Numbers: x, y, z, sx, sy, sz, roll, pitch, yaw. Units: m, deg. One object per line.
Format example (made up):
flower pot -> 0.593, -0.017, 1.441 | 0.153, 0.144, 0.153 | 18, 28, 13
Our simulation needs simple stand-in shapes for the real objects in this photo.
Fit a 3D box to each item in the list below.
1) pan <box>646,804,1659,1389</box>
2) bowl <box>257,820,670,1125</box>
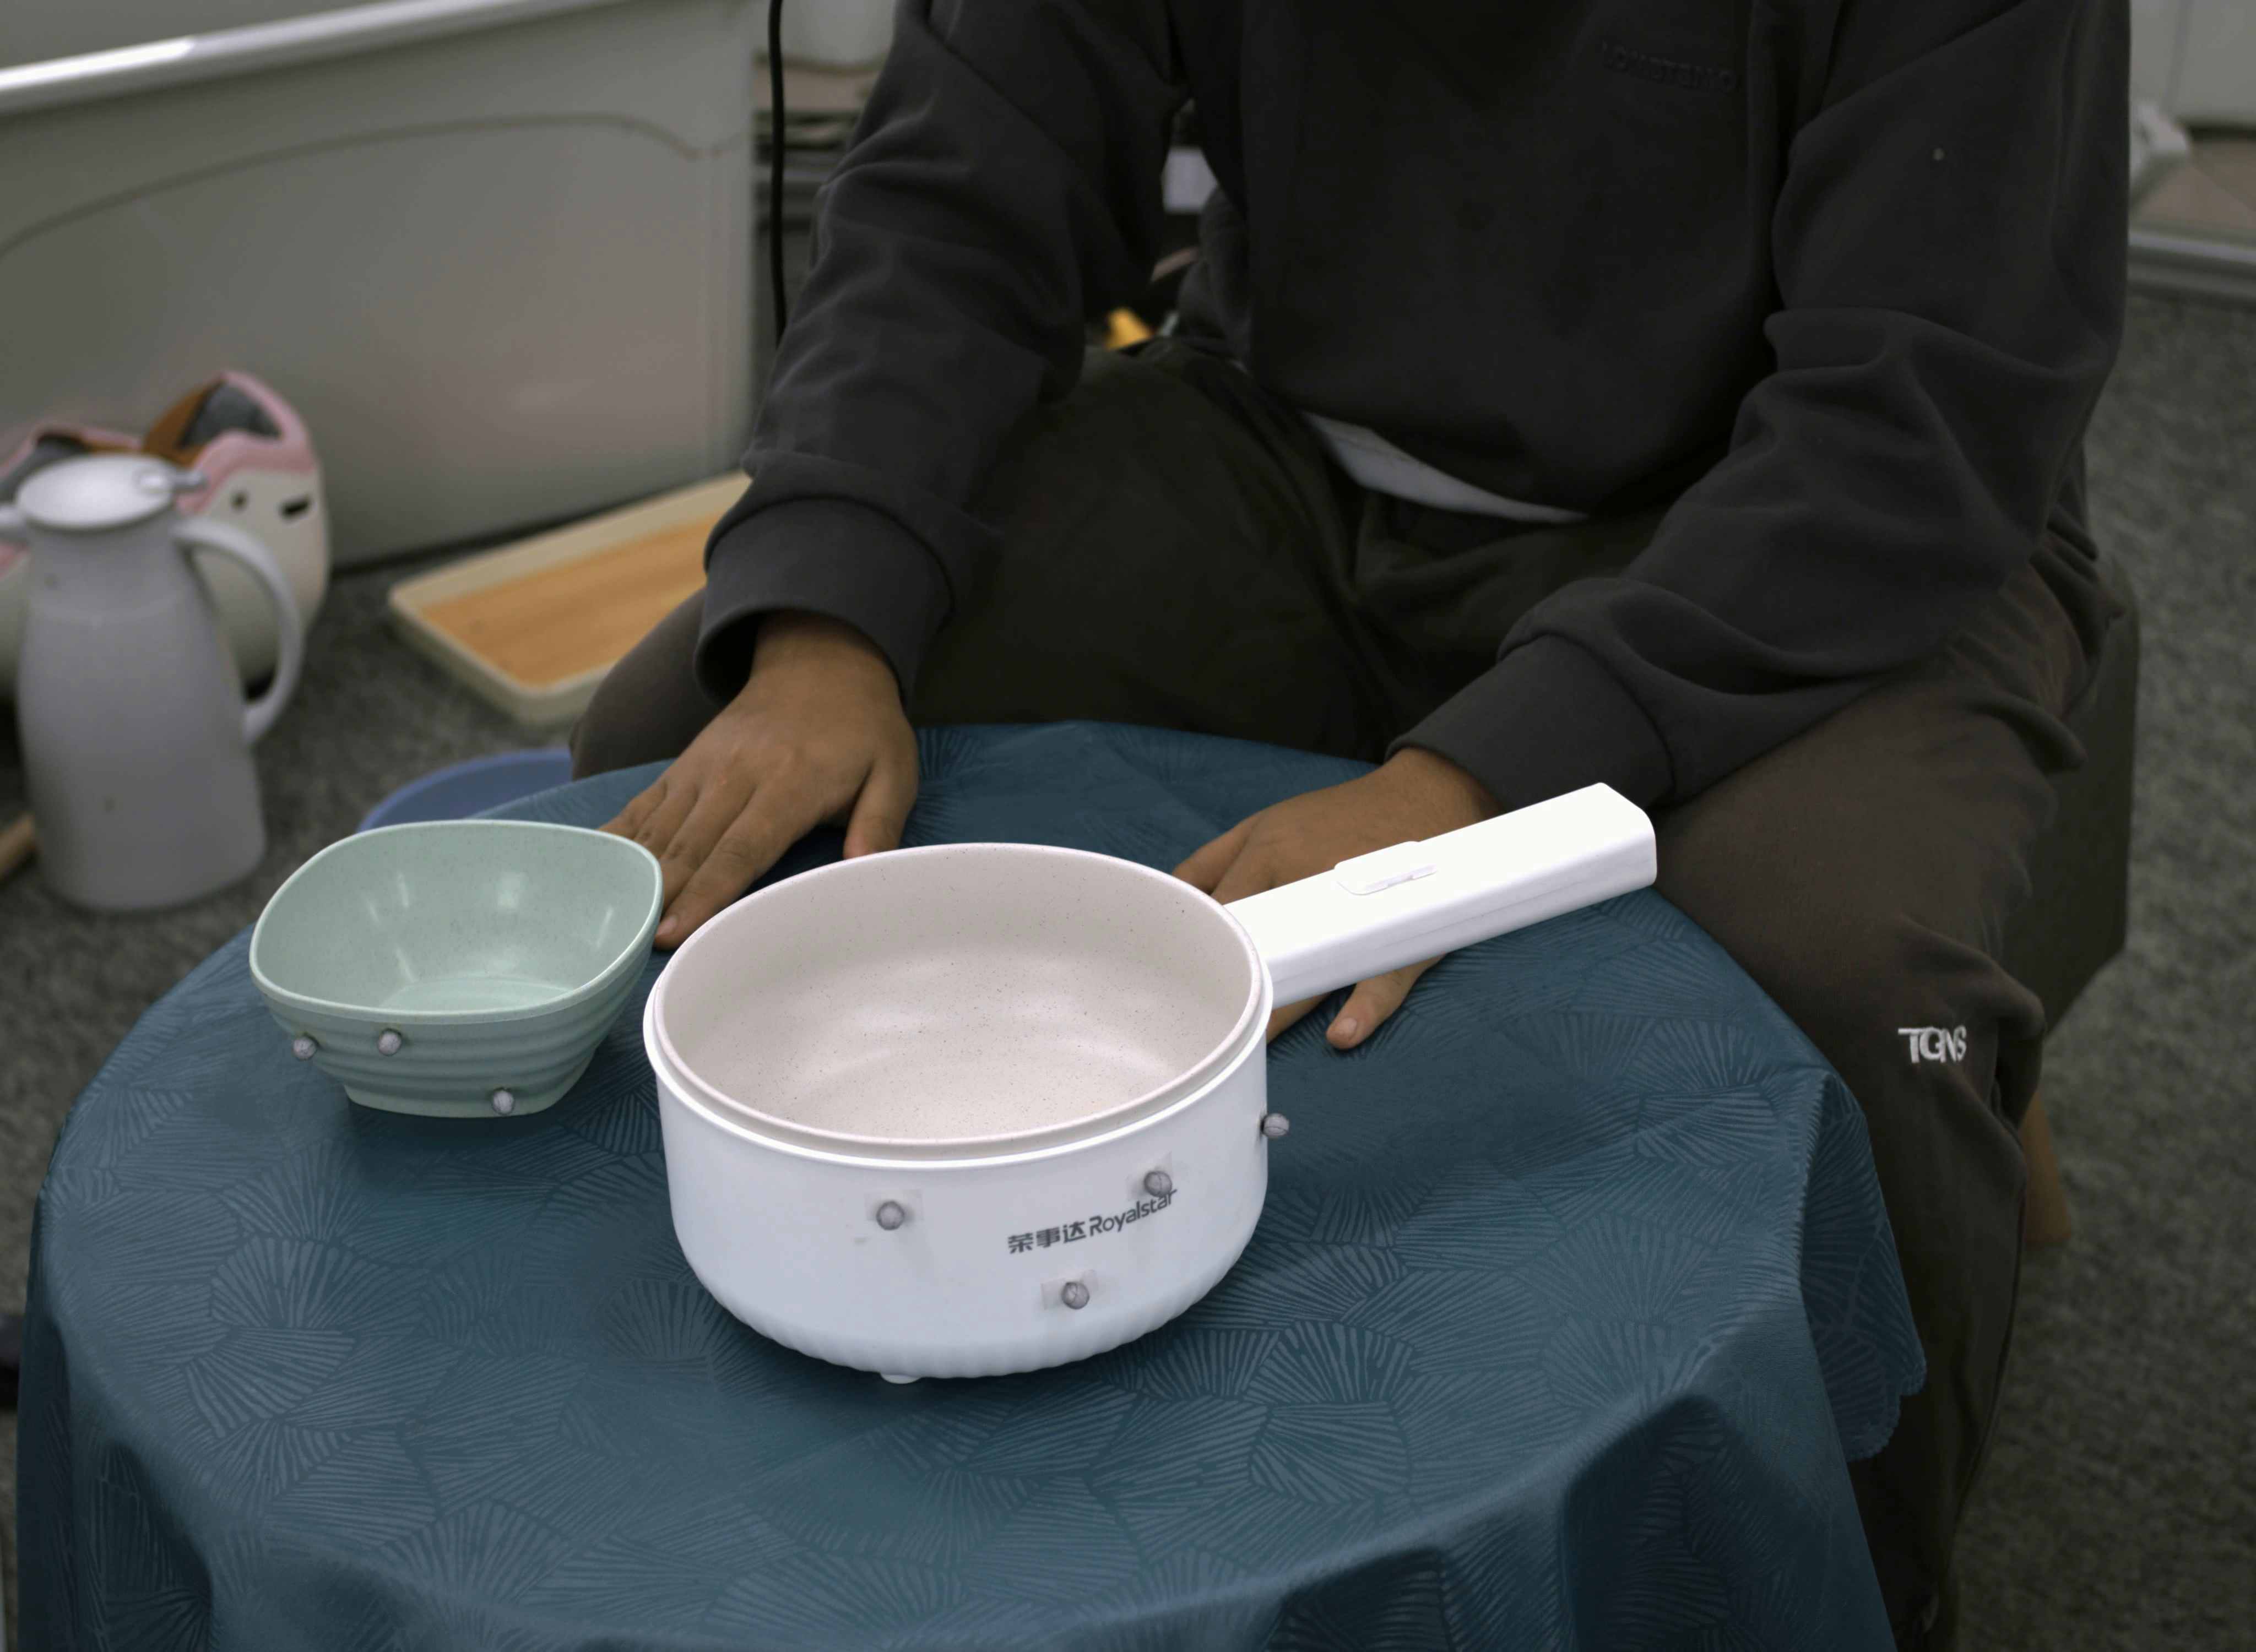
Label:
pan -> 0.015, 0.081, 1.847 | 0.357, 0.101, 0.202 | -15, 28, -25
bowl -> -0.227, 0.057, 1.951 | 0.151, 0.058, 0.154 | -3, 29, 2
